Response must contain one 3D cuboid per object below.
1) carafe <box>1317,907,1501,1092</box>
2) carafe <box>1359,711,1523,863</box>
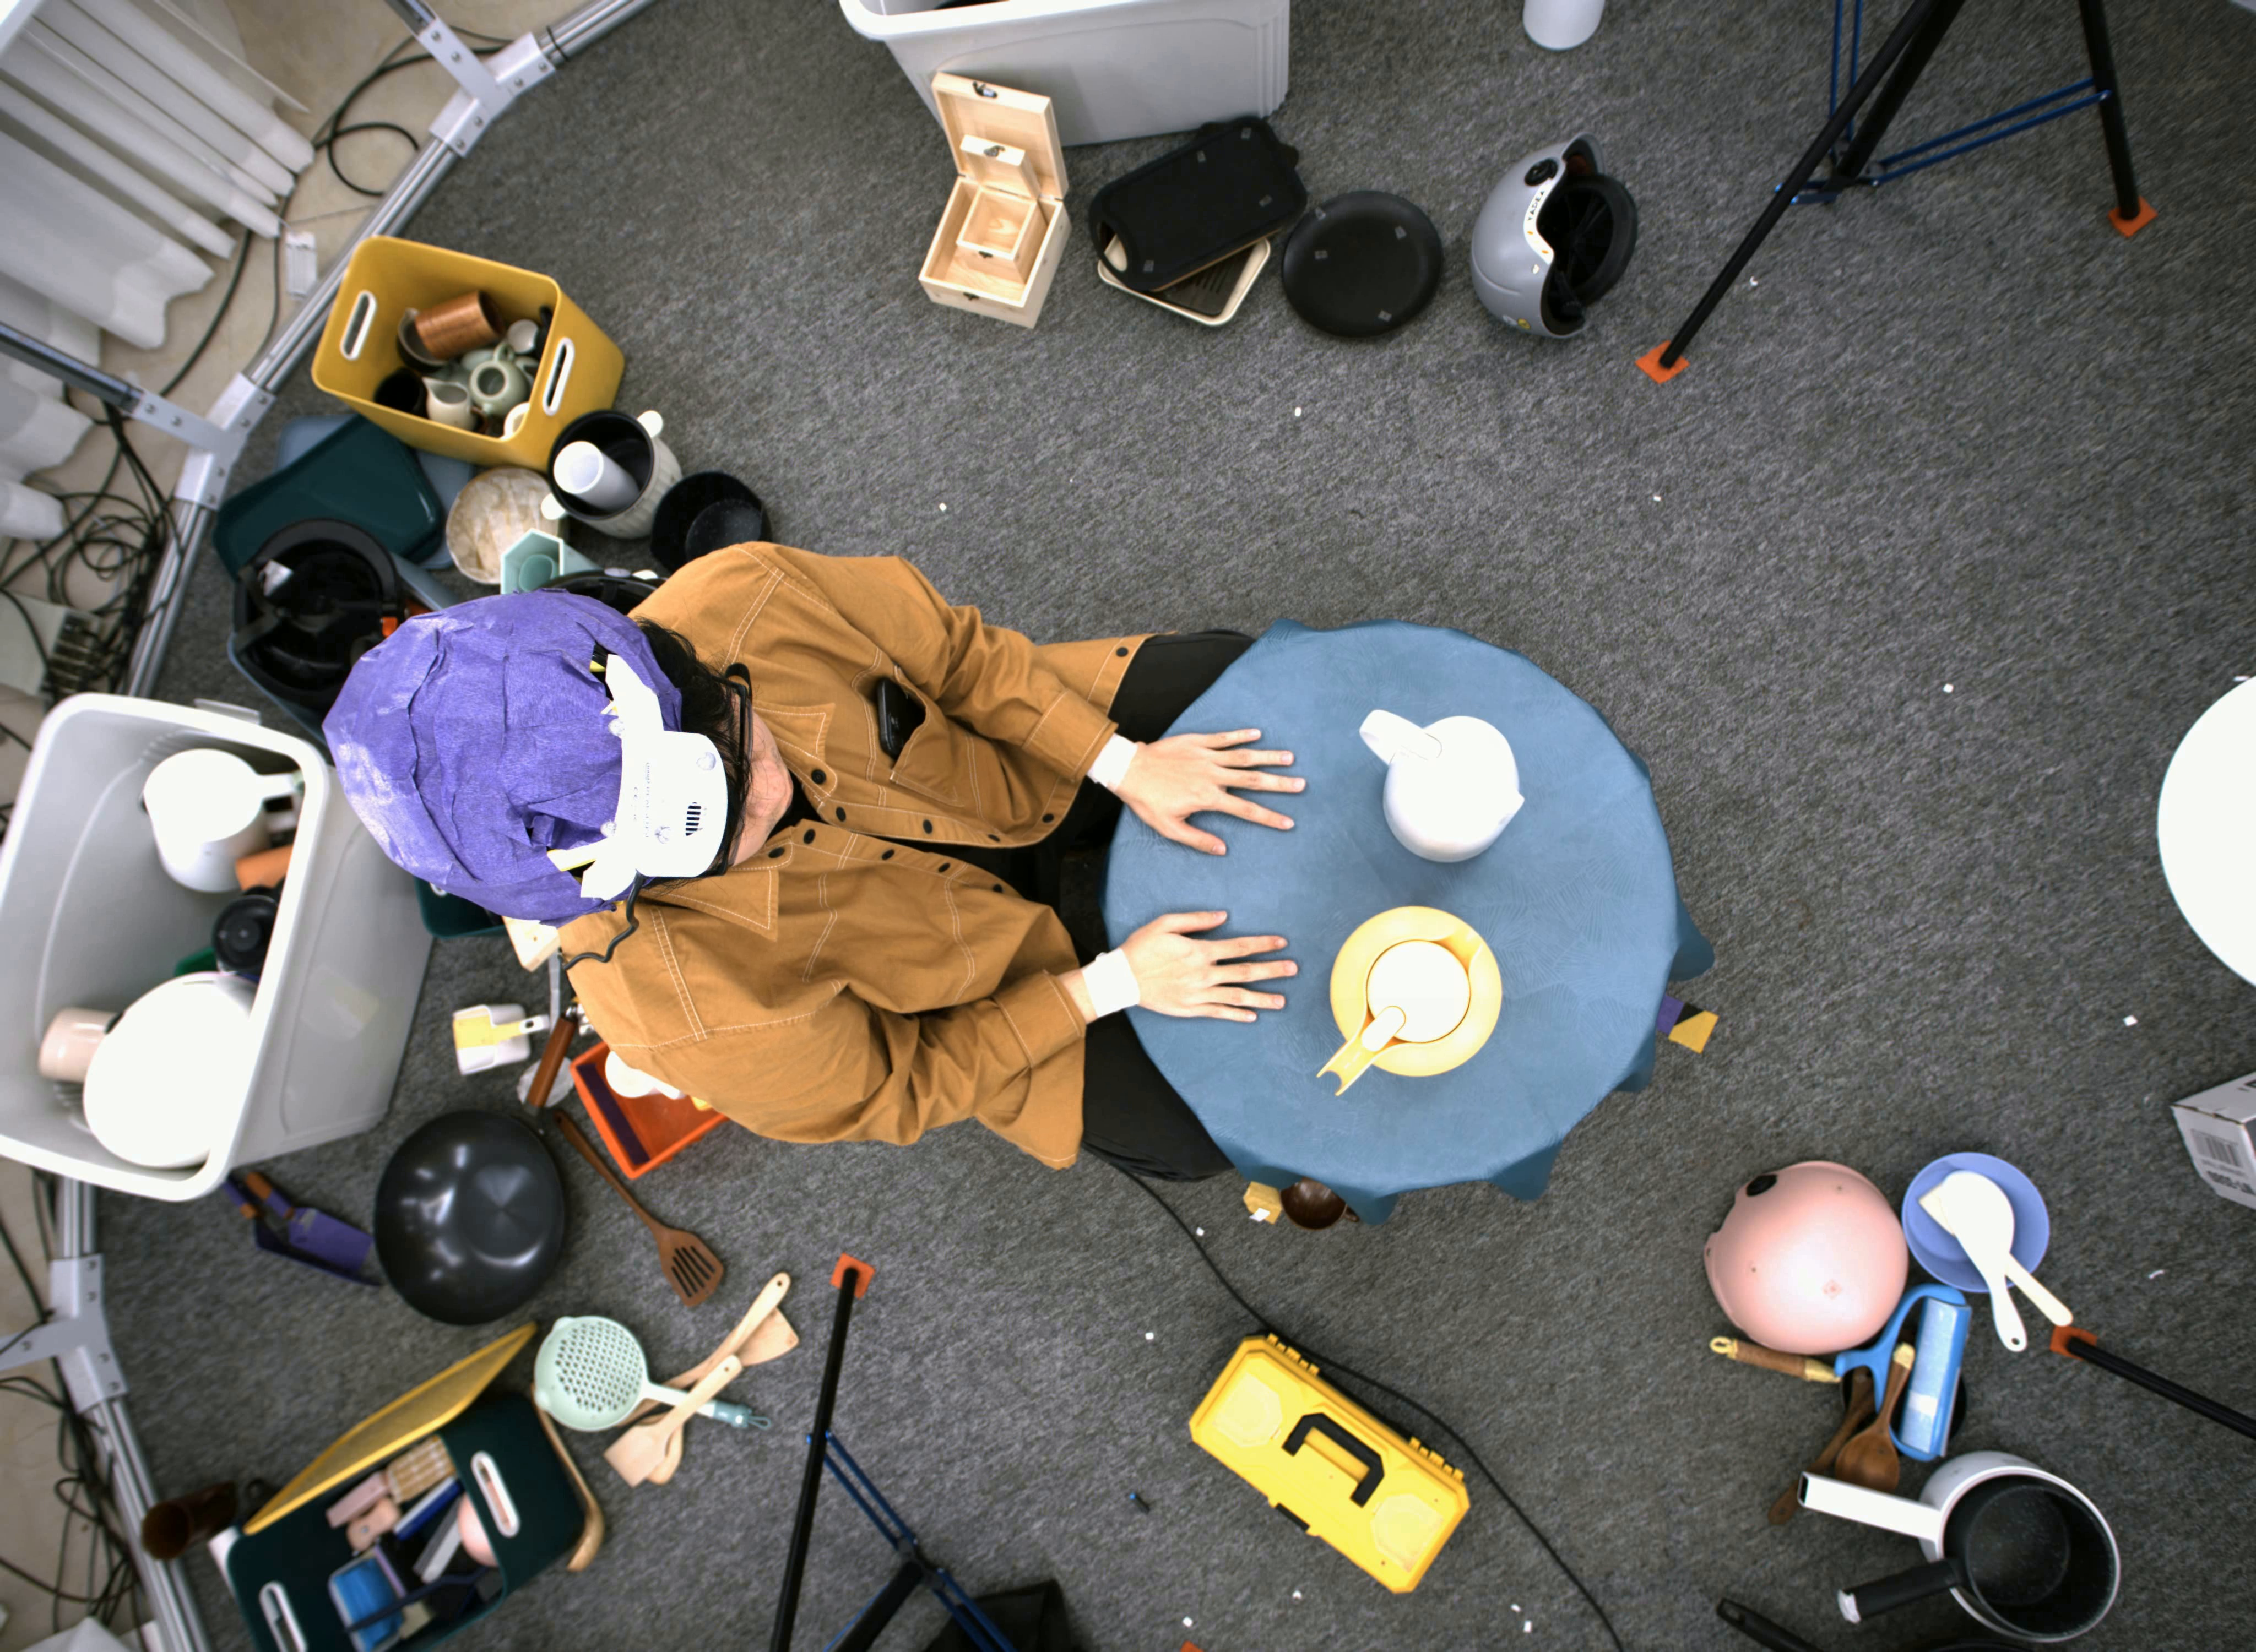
[{"bbox_3d":[0.260,0.170,1.327,0.203,0.261,0.162,-45,77,3],"label":"carafe"},{"bbox_3d":[0.299,-0.051,1.336,0.167,0.249,0.133,34,92,12],"label":"carafe"}]
